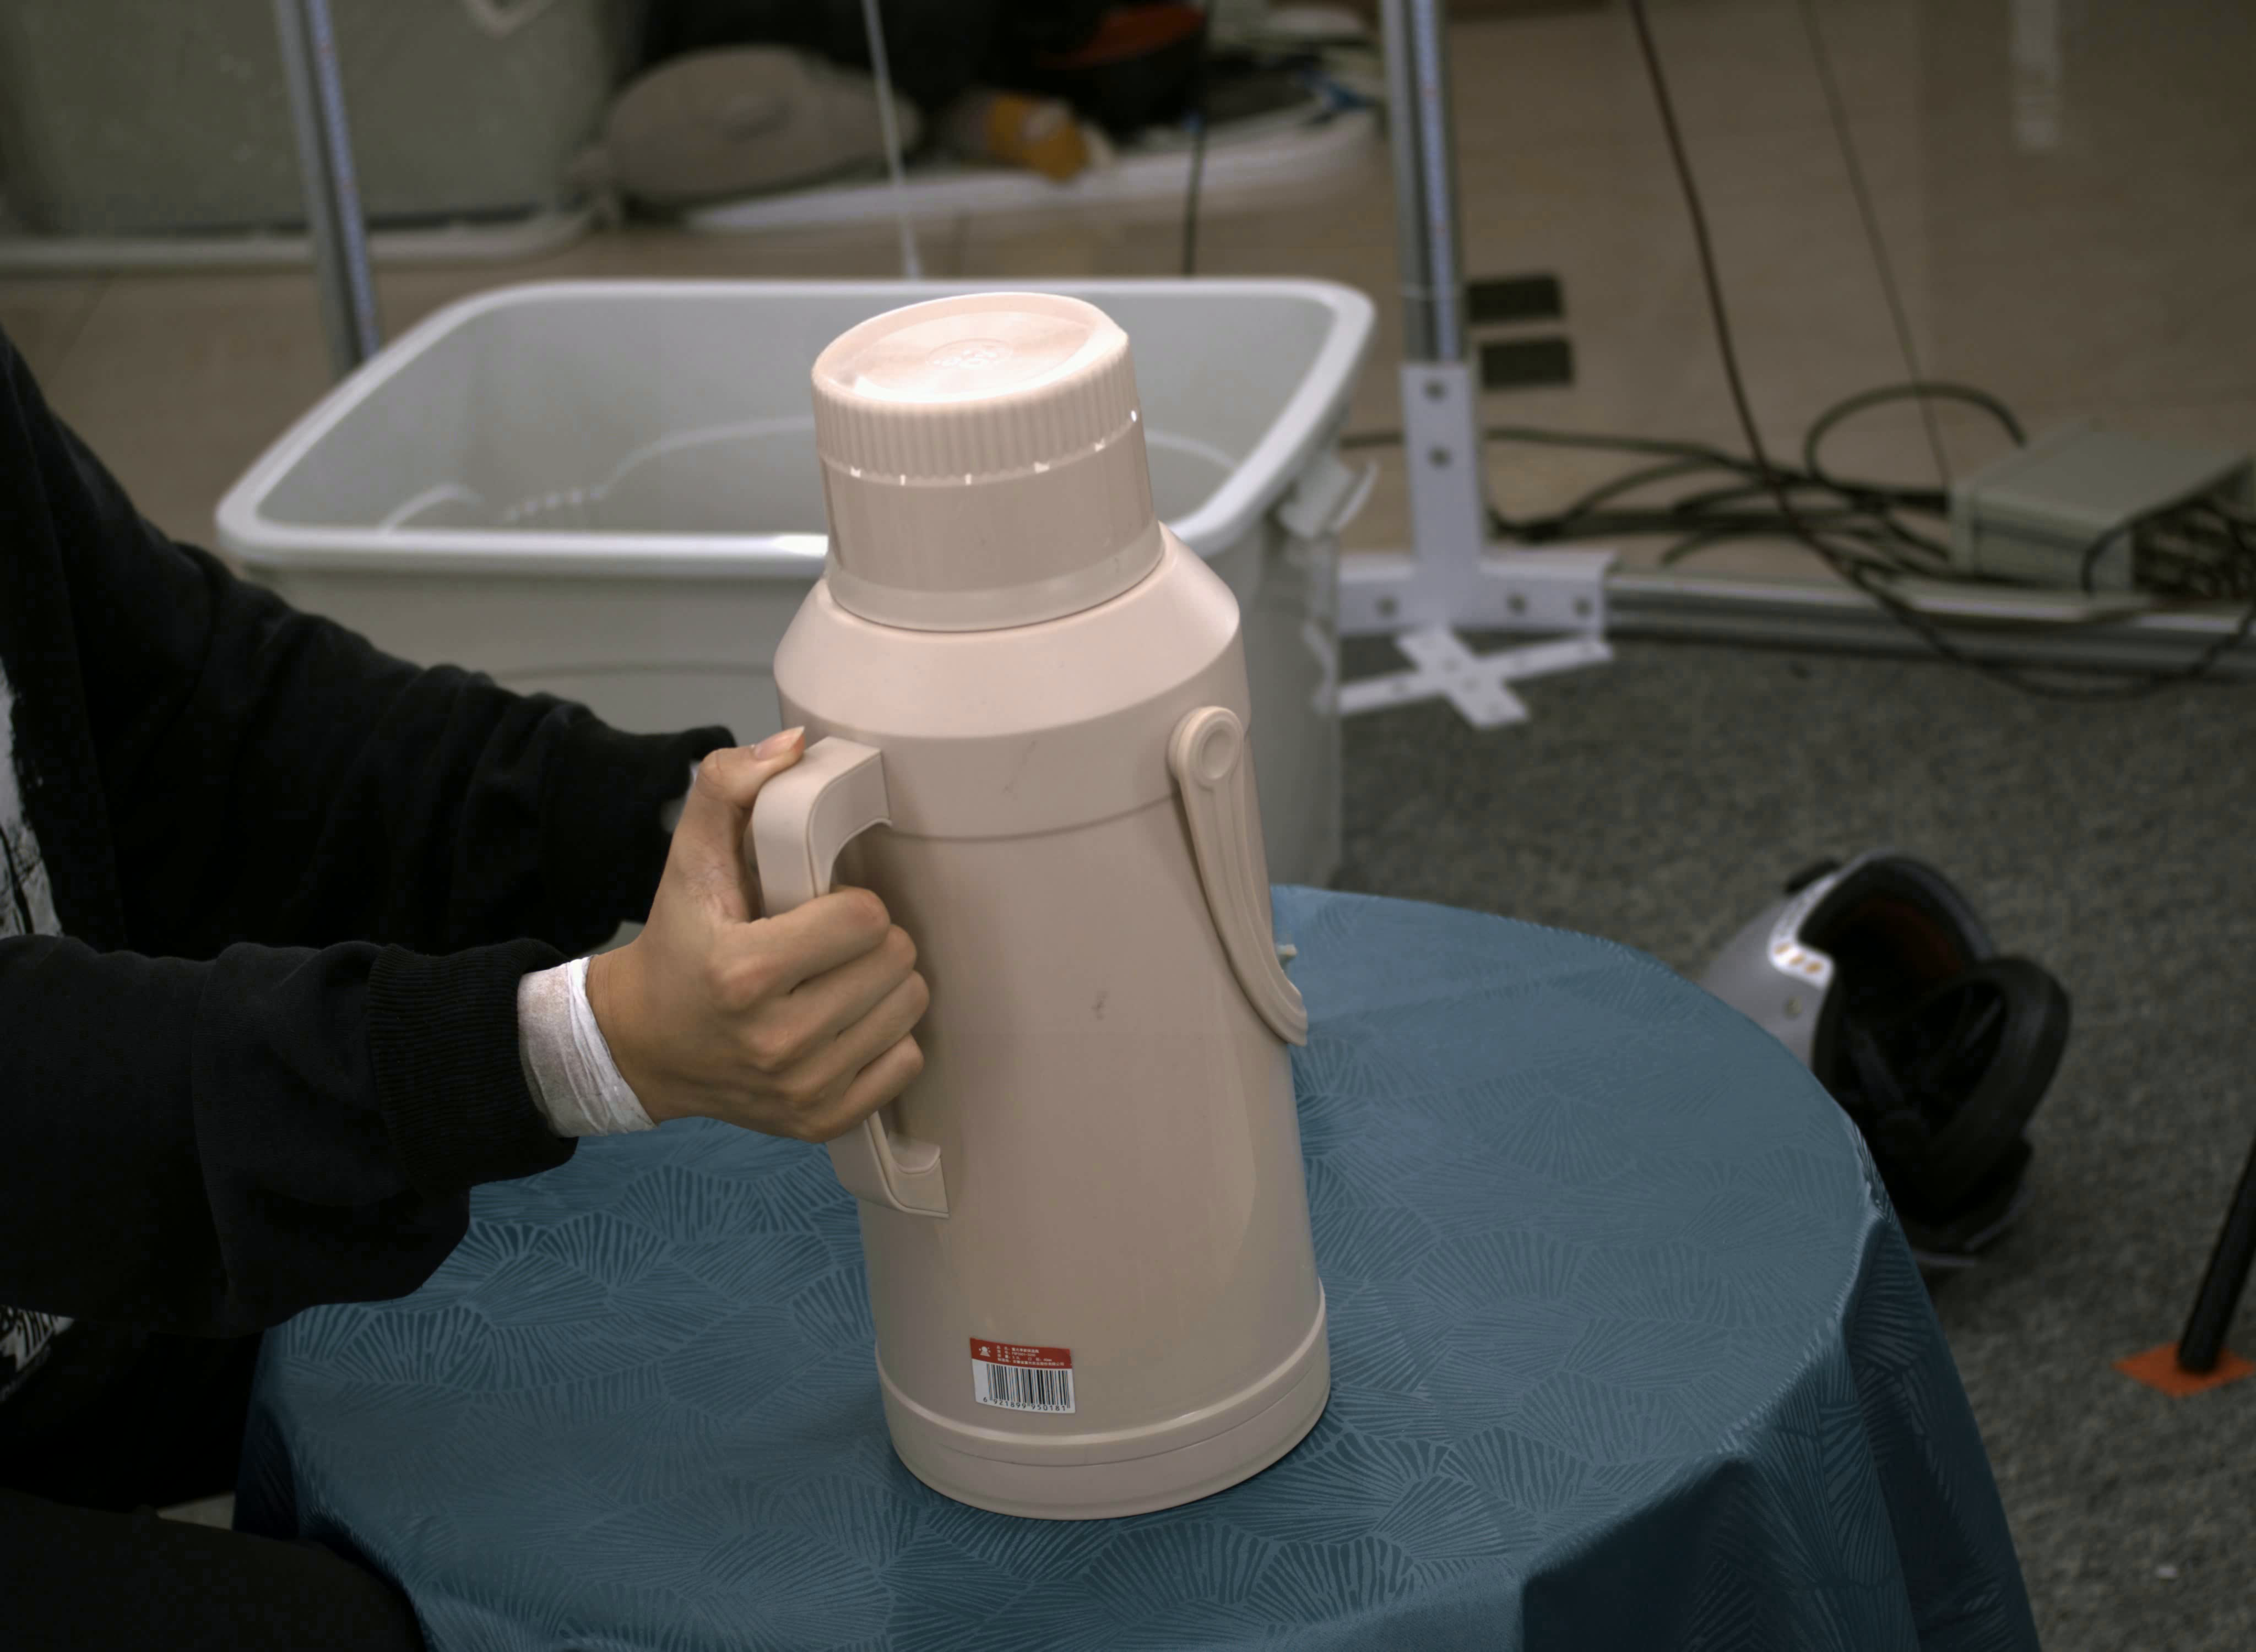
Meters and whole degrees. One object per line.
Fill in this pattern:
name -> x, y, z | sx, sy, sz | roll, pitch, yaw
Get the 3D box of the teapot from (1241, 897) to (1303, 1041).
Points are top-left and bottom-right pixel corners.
teapot -> 0.012, 0.062, 2.241 | 0.127, 0.060, 0.090 | 6, 32, 23

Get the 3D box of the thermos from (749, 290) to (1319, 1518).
thermos -> -0.041, 0.031, 1.911 | 0.174, 0.413, 0.205 | 16, 35, 36
